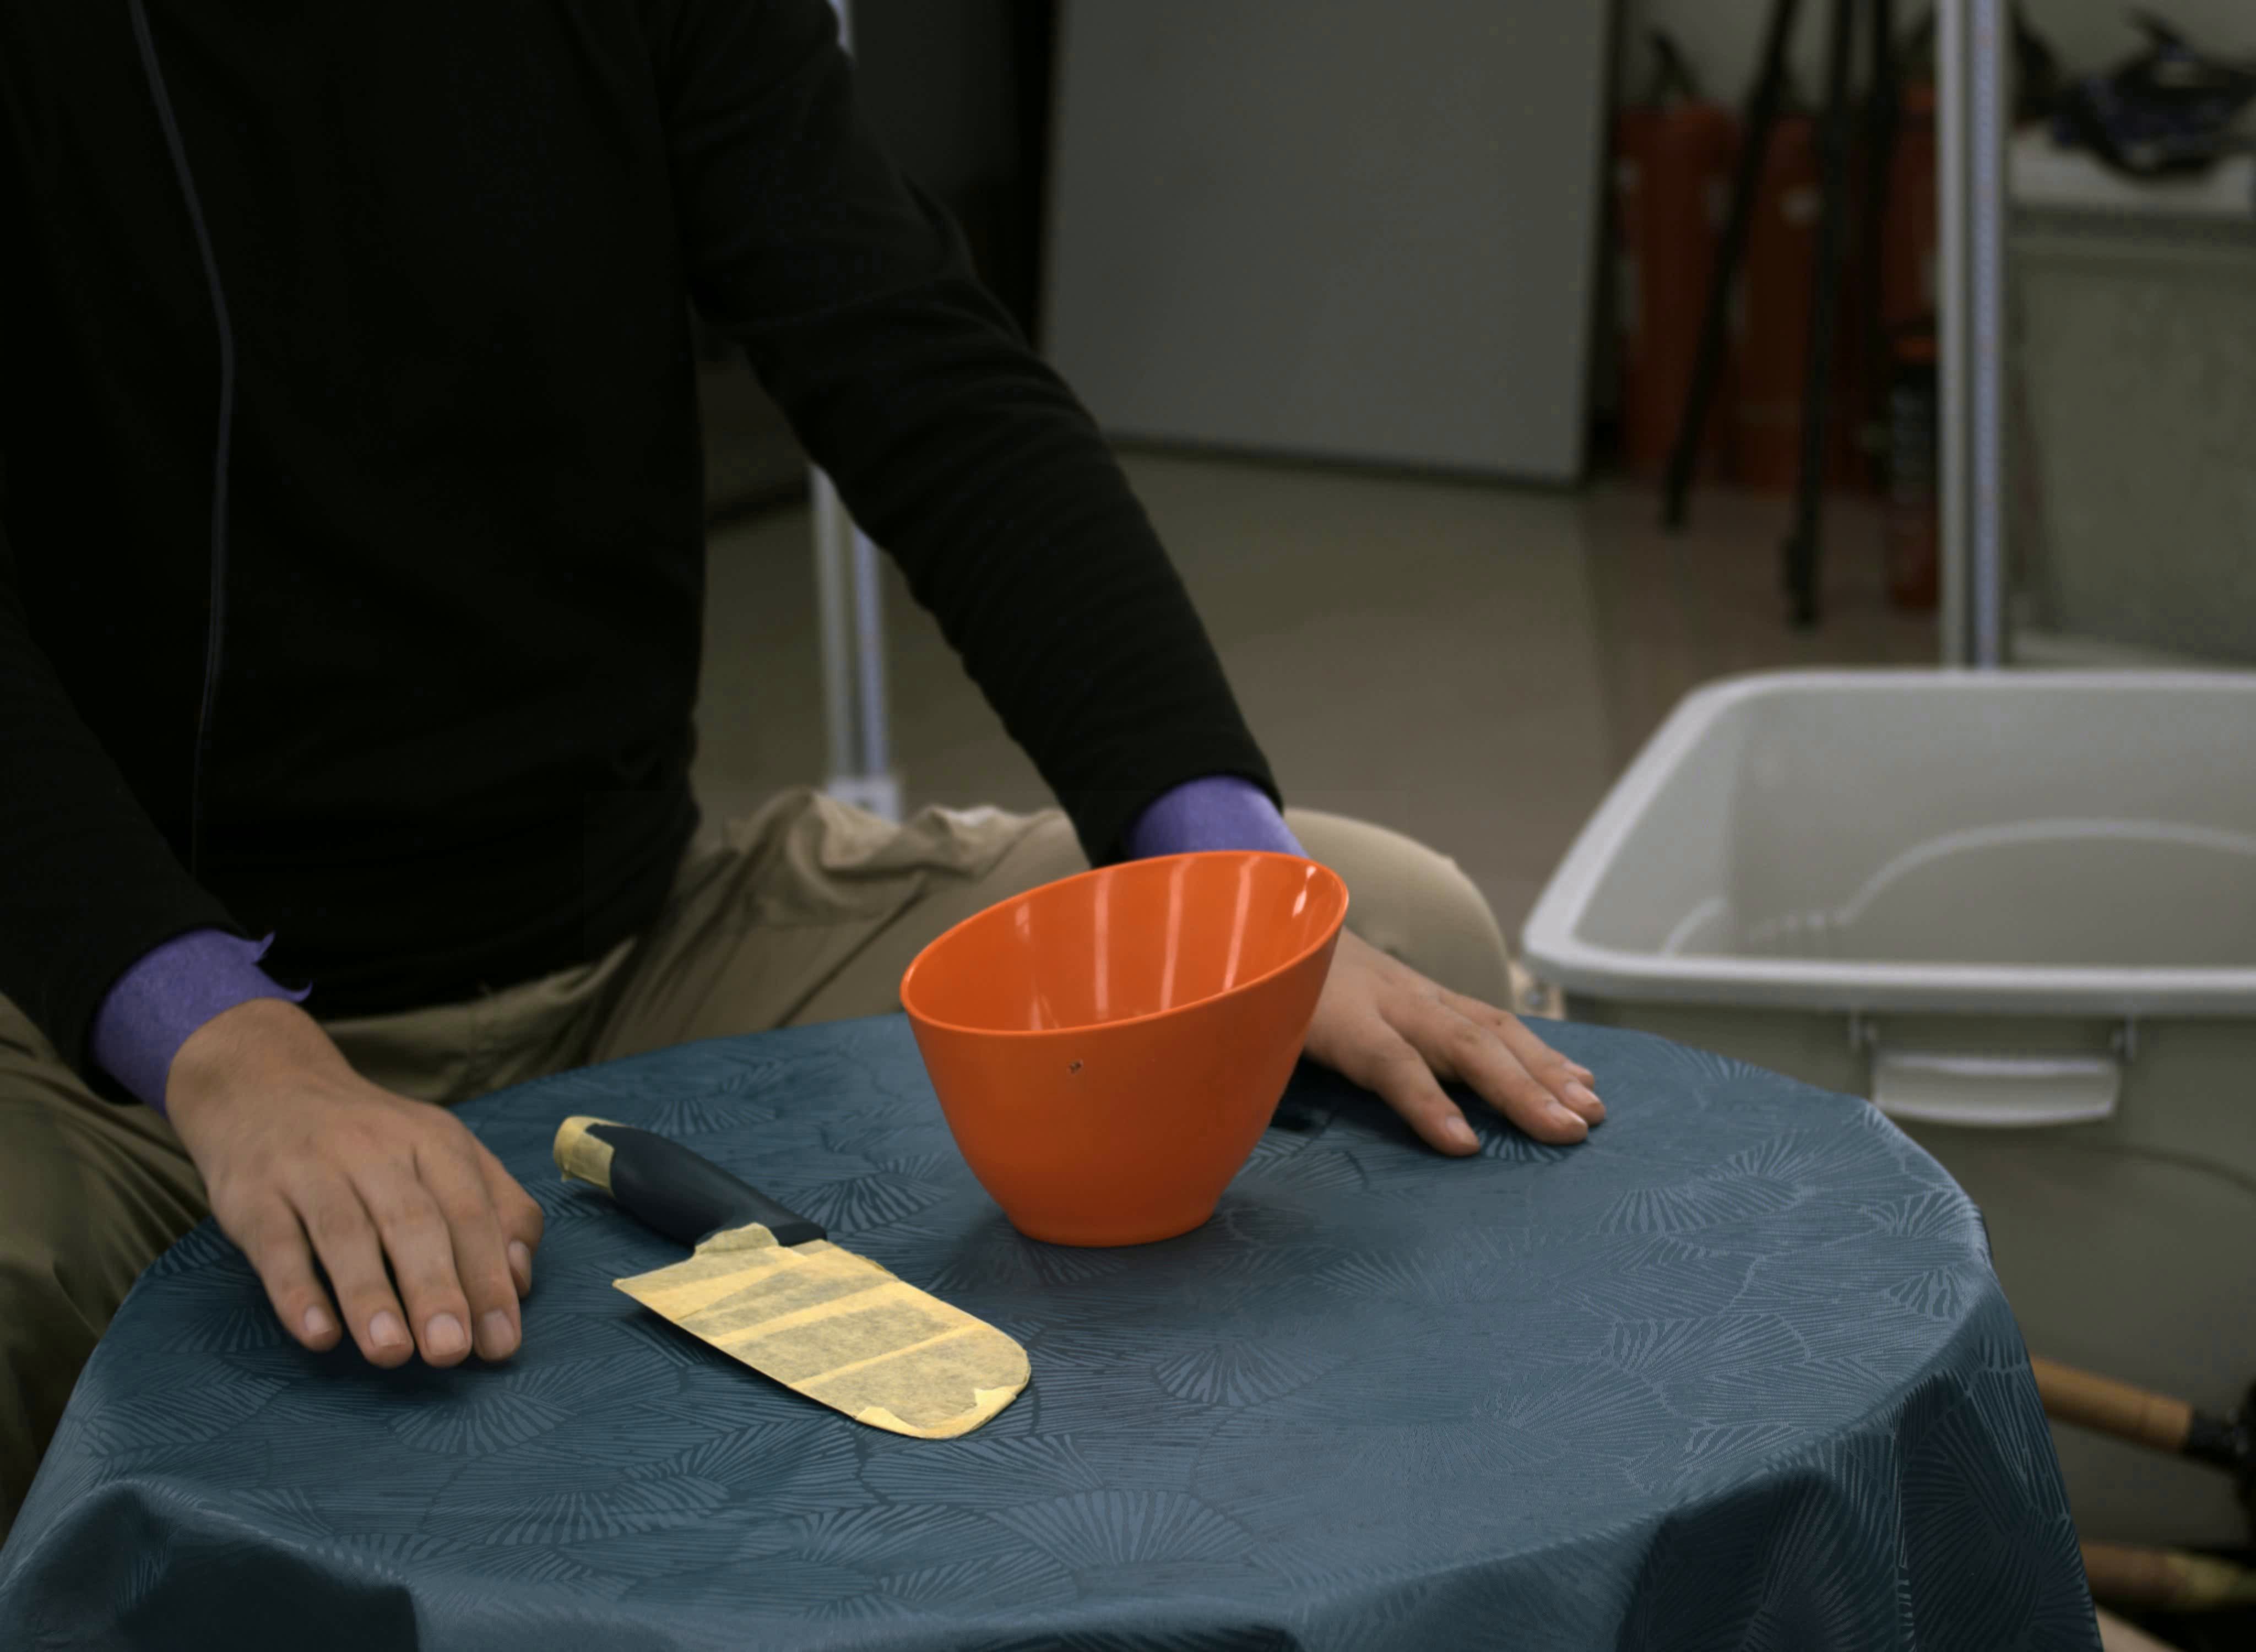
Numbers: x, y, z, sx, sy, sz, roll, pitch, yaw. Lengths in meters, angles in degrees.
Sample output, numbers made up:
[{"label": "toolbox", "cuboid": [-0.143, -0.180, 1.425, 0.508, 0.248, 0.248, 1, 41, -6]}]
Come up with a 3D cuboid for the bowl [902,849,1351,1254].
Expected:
[{"label": "bowl", "cuboid": [0.002, 0.076, 1.742, 0.146, 0.106, 0.148, -4, 15, 0]}]

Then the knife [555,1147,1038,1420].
[{"label": "knife", "cuboid": [-0.116, 0.144, 1.688, 0.079, 0.027, 0.292, -10, 16, -30]}]
